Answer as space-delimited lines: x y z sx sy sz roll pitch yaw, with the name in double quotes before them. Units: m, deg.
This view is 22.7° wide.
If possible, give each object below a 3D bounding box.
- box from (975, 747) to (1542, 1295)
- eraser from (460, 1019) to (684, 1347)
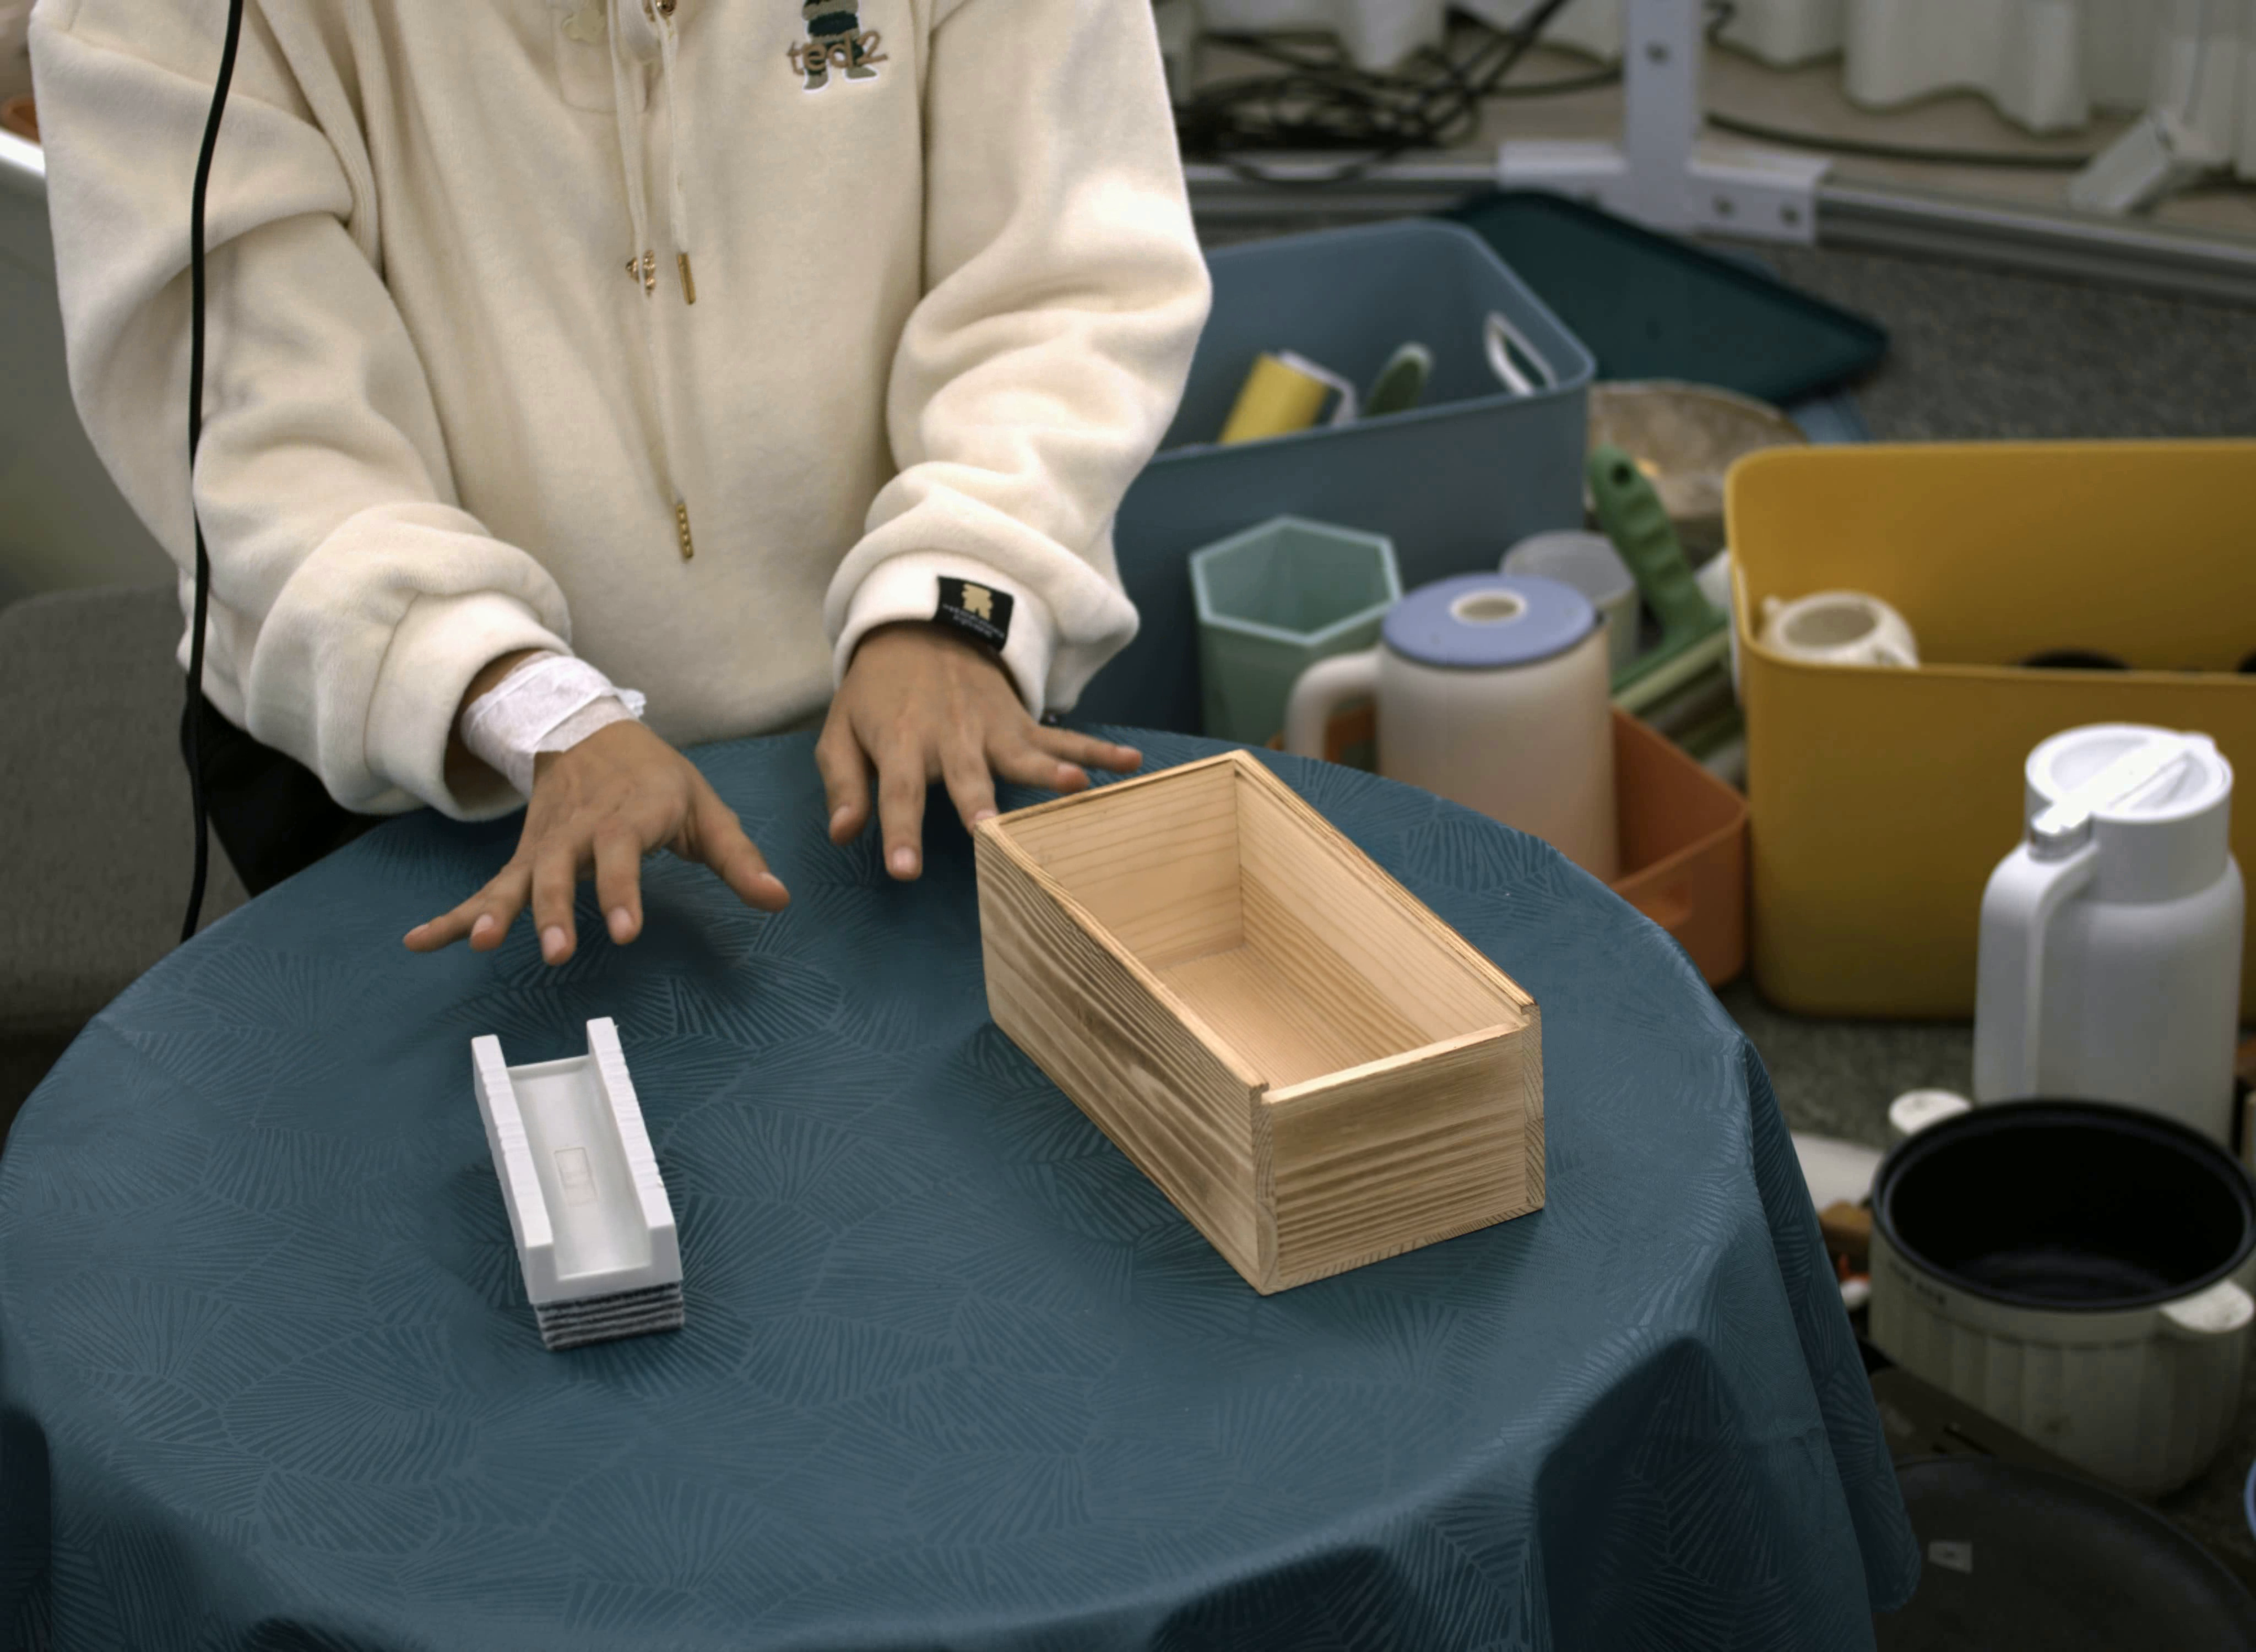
"box" 0.041 0.061 1.888 0.108 0.079 0.212 -15 30 -23
"eraser" -0.182 0.116 1.839 0.050 0.046 0.136 -11 30 -12
